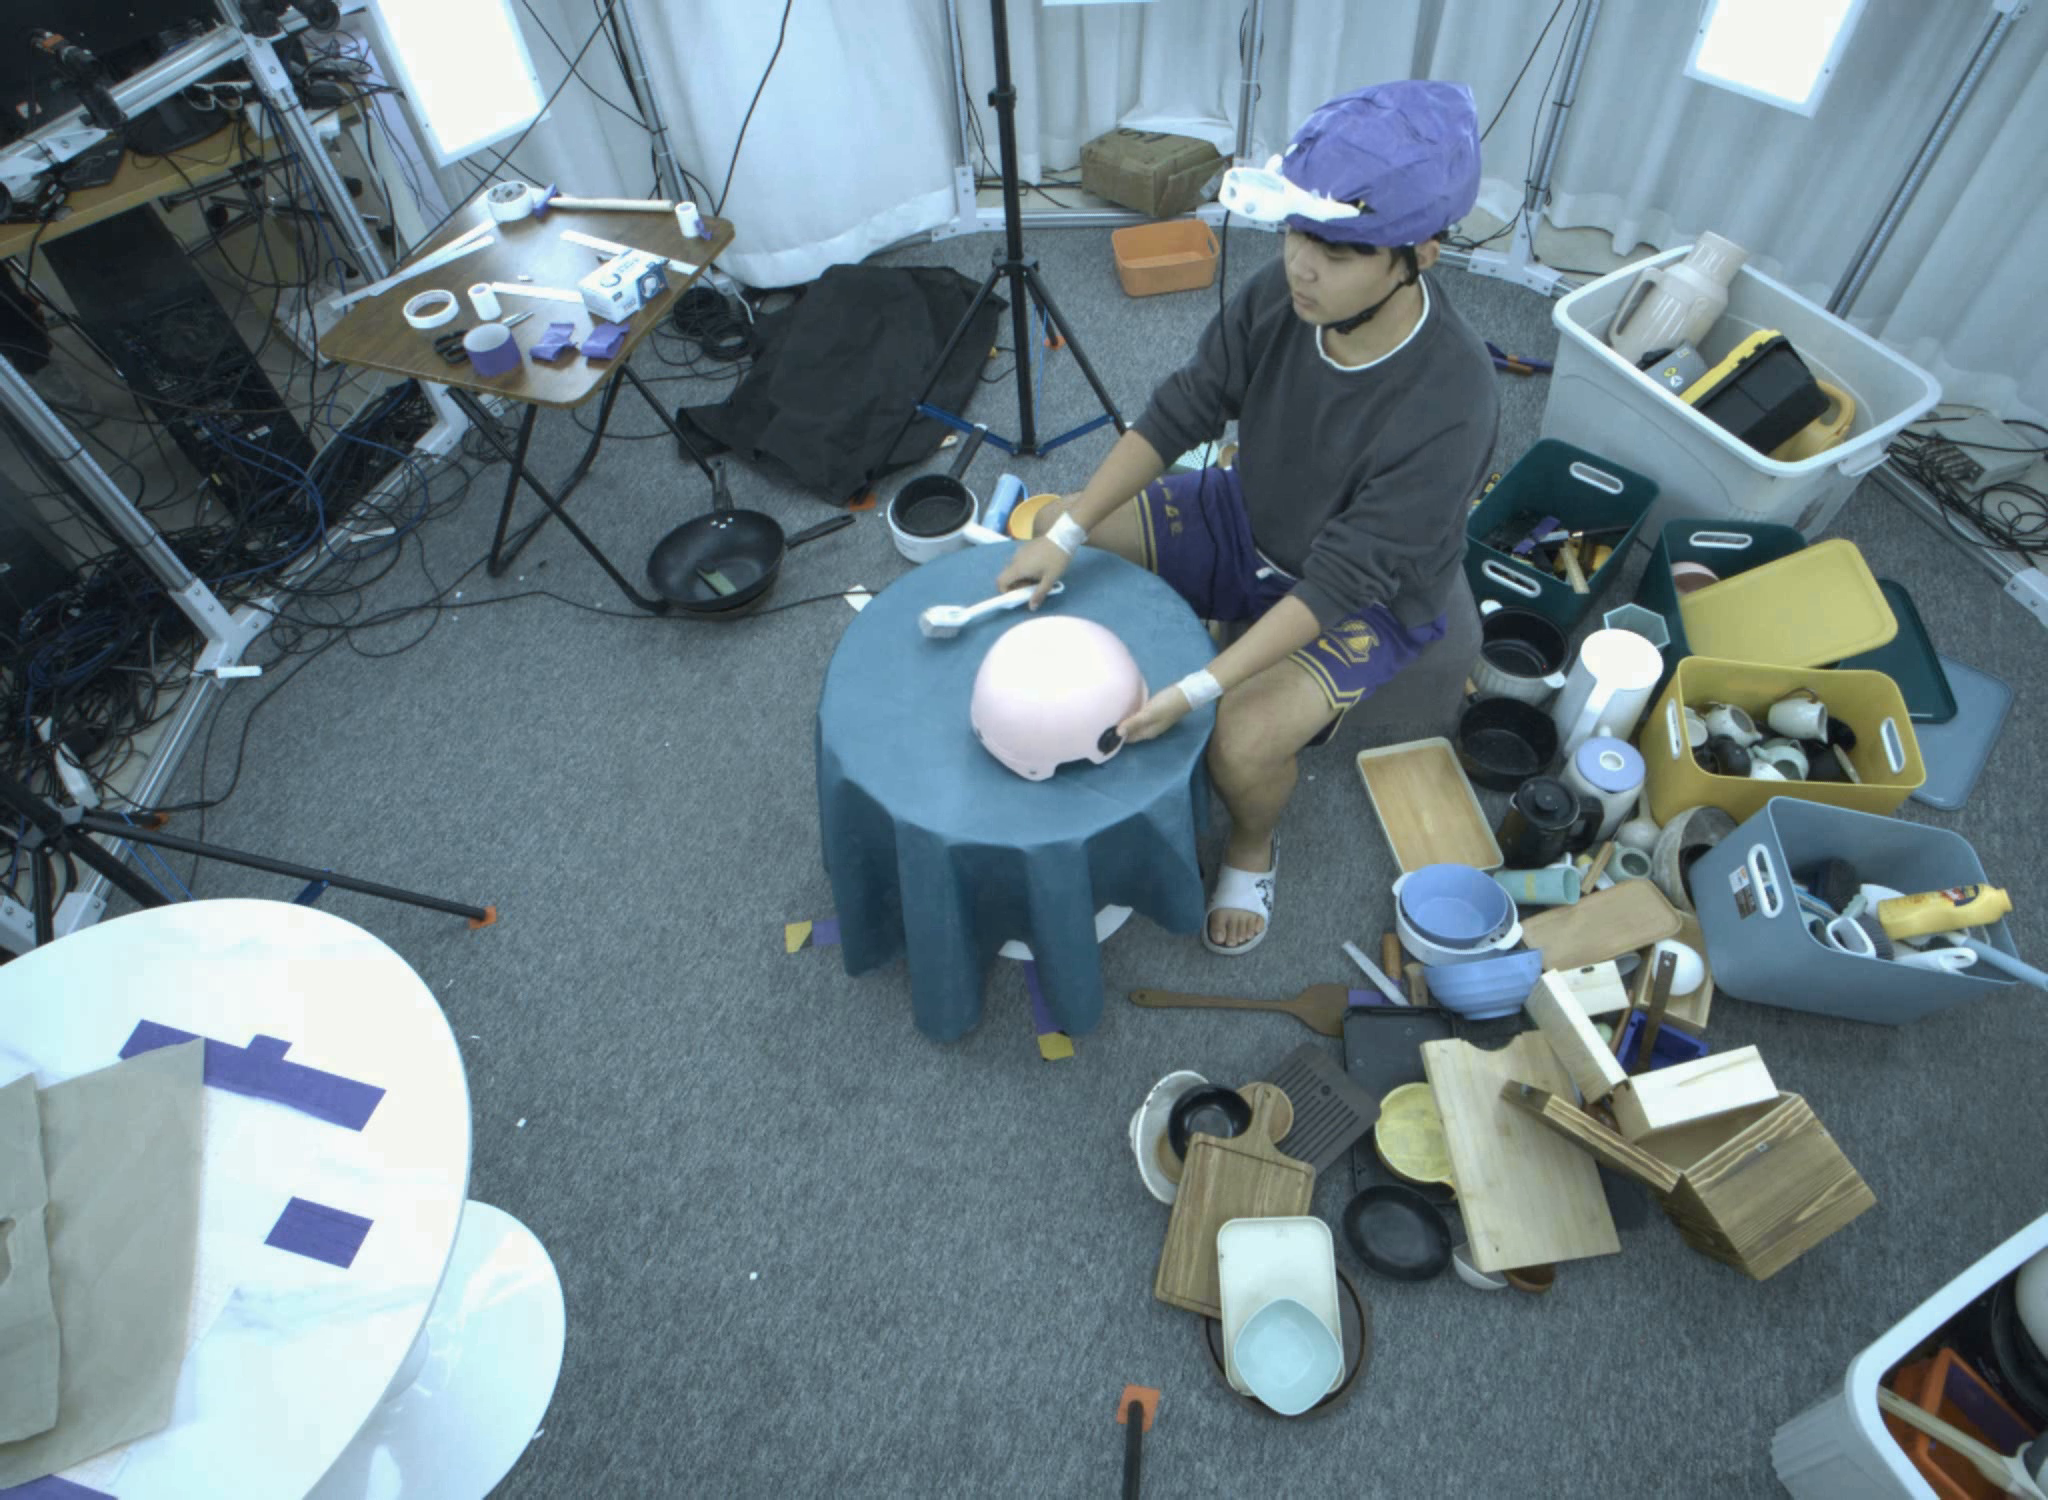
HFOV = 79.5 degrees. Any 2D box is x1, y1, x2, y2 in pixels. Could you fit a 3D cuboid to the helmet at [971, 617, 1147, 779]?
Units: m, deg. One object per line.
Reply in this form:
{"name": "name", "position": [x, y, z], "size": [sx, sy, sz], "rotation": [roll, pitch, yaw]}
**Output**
{"name": "helmet", "position": [0.050, -0.100, 1.762], "size": [0.268, 0.160, 0.229], "rotation": [-23, 55, -16]}

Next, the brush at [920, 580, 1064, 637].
{"name": "brush", "position": [-0.049, -0.222, 1.935], "size": [0.247, 0.050, 0.034], "rotation": [-16, 56, -26]}
